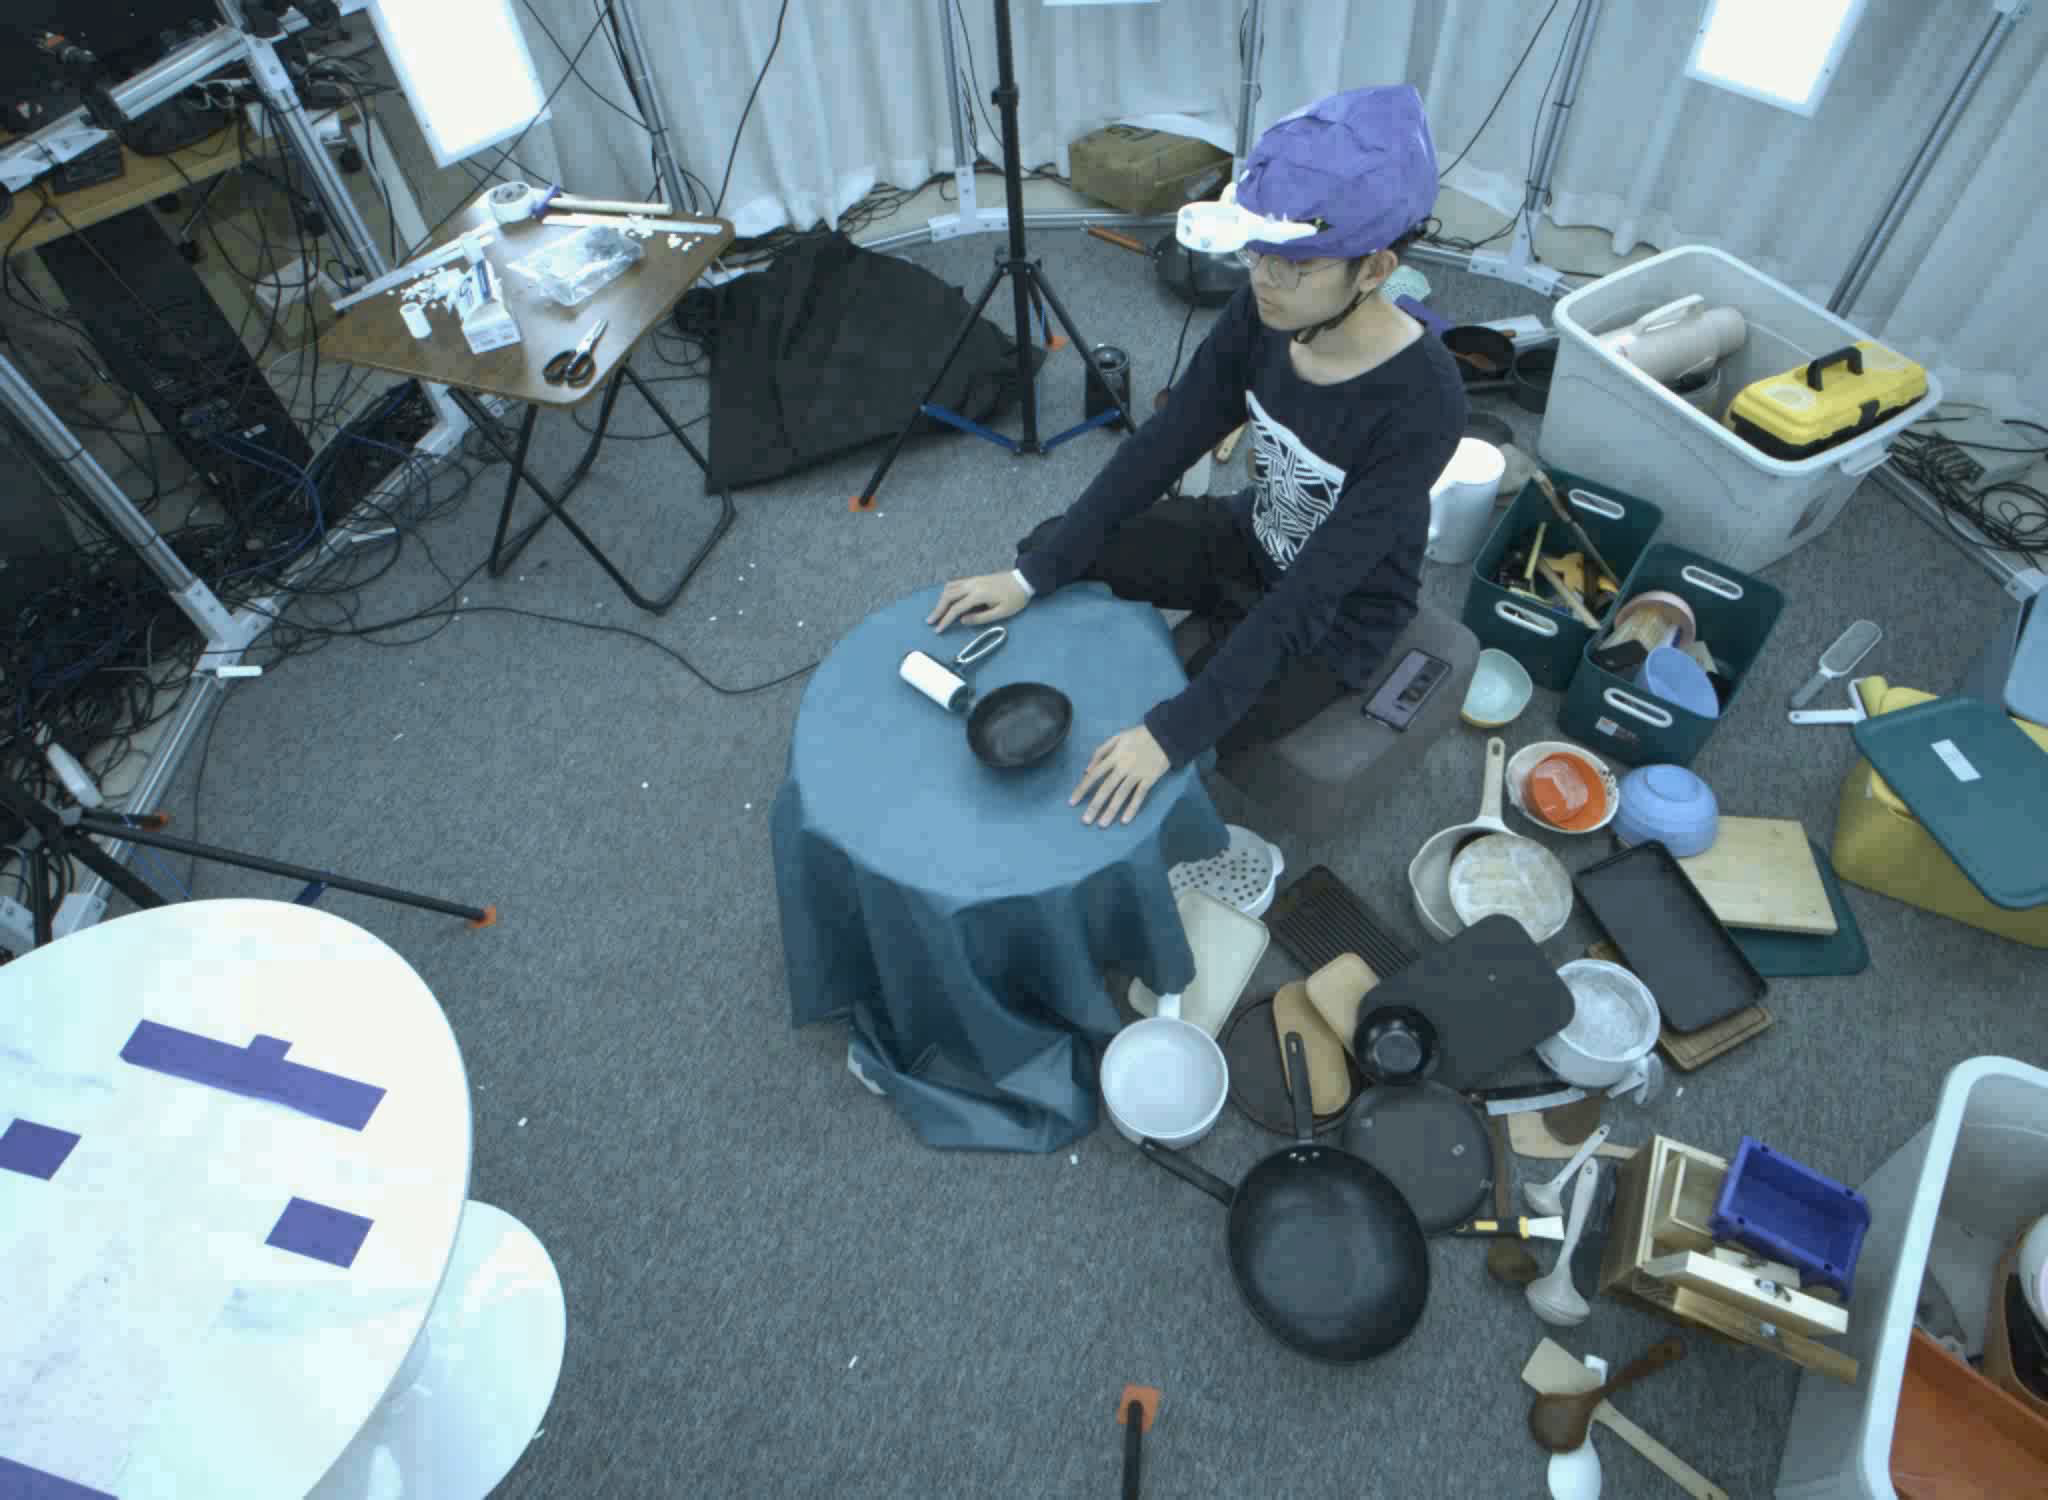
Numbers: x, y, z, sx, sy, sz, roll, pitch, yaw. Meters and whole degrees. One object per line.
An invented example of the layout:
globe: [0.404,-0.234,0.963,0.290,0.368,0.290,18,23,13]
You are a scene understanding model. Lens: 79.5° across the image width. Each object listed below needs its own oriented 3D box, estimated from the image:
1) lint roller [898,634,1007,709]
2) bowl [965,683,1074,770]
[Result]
lint roller: [-0.091,-0.143,1.877,0.132,0.049,0.181,35,57,24]
bowl: [-0.005,-0.026,1.773,0.135,0.067,0.171,38,62,25]
